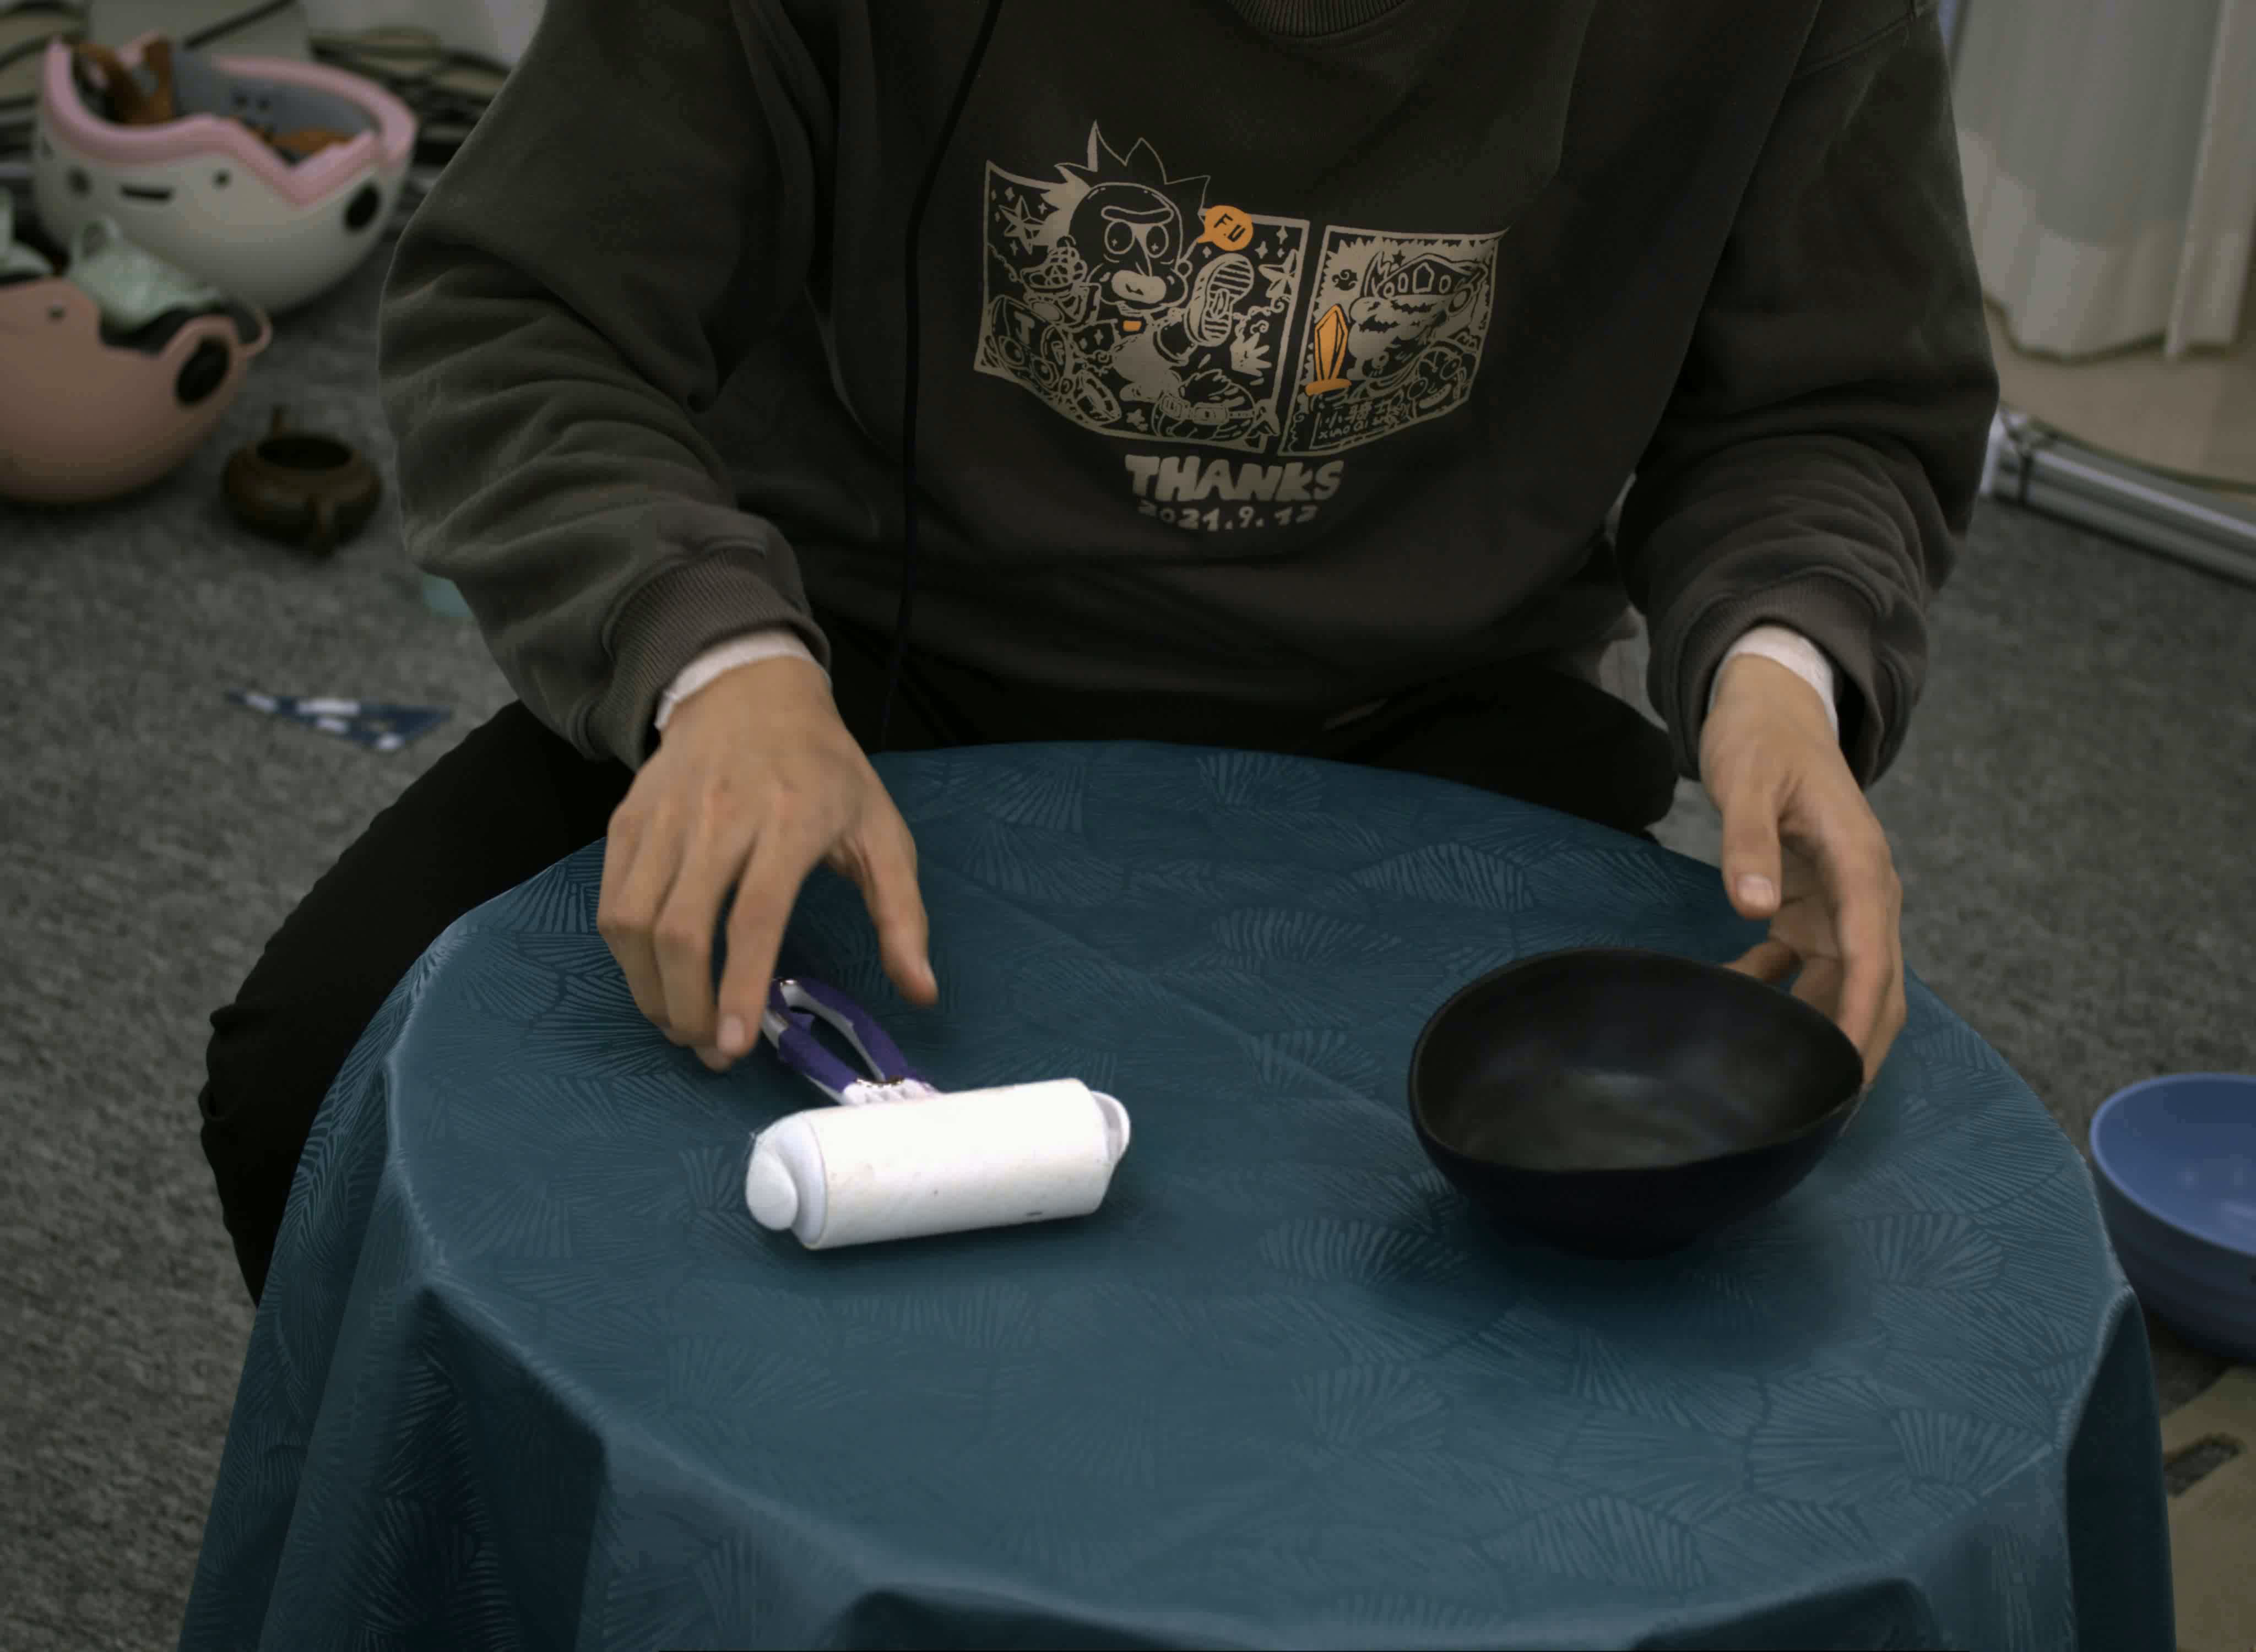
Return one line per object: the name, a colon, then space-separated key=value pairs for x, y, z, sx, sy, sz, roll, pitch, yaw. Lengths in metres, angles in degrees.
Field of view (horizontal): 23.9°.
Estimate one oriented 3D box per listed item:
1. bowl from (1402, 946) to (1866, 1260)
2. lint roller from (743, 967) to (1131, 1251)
bowl: x=0.170 y=0.104 z=1.811 sx=0.169 sy=0.066 sz=0.138 roll=-16 pitch=33 yaw=-35
lint roller: x=-0.085 y=0.081 z=1.816 sx=0.132 sy=0.050 sz=0.182 roll=-5 pitch=31 yaw=-21
